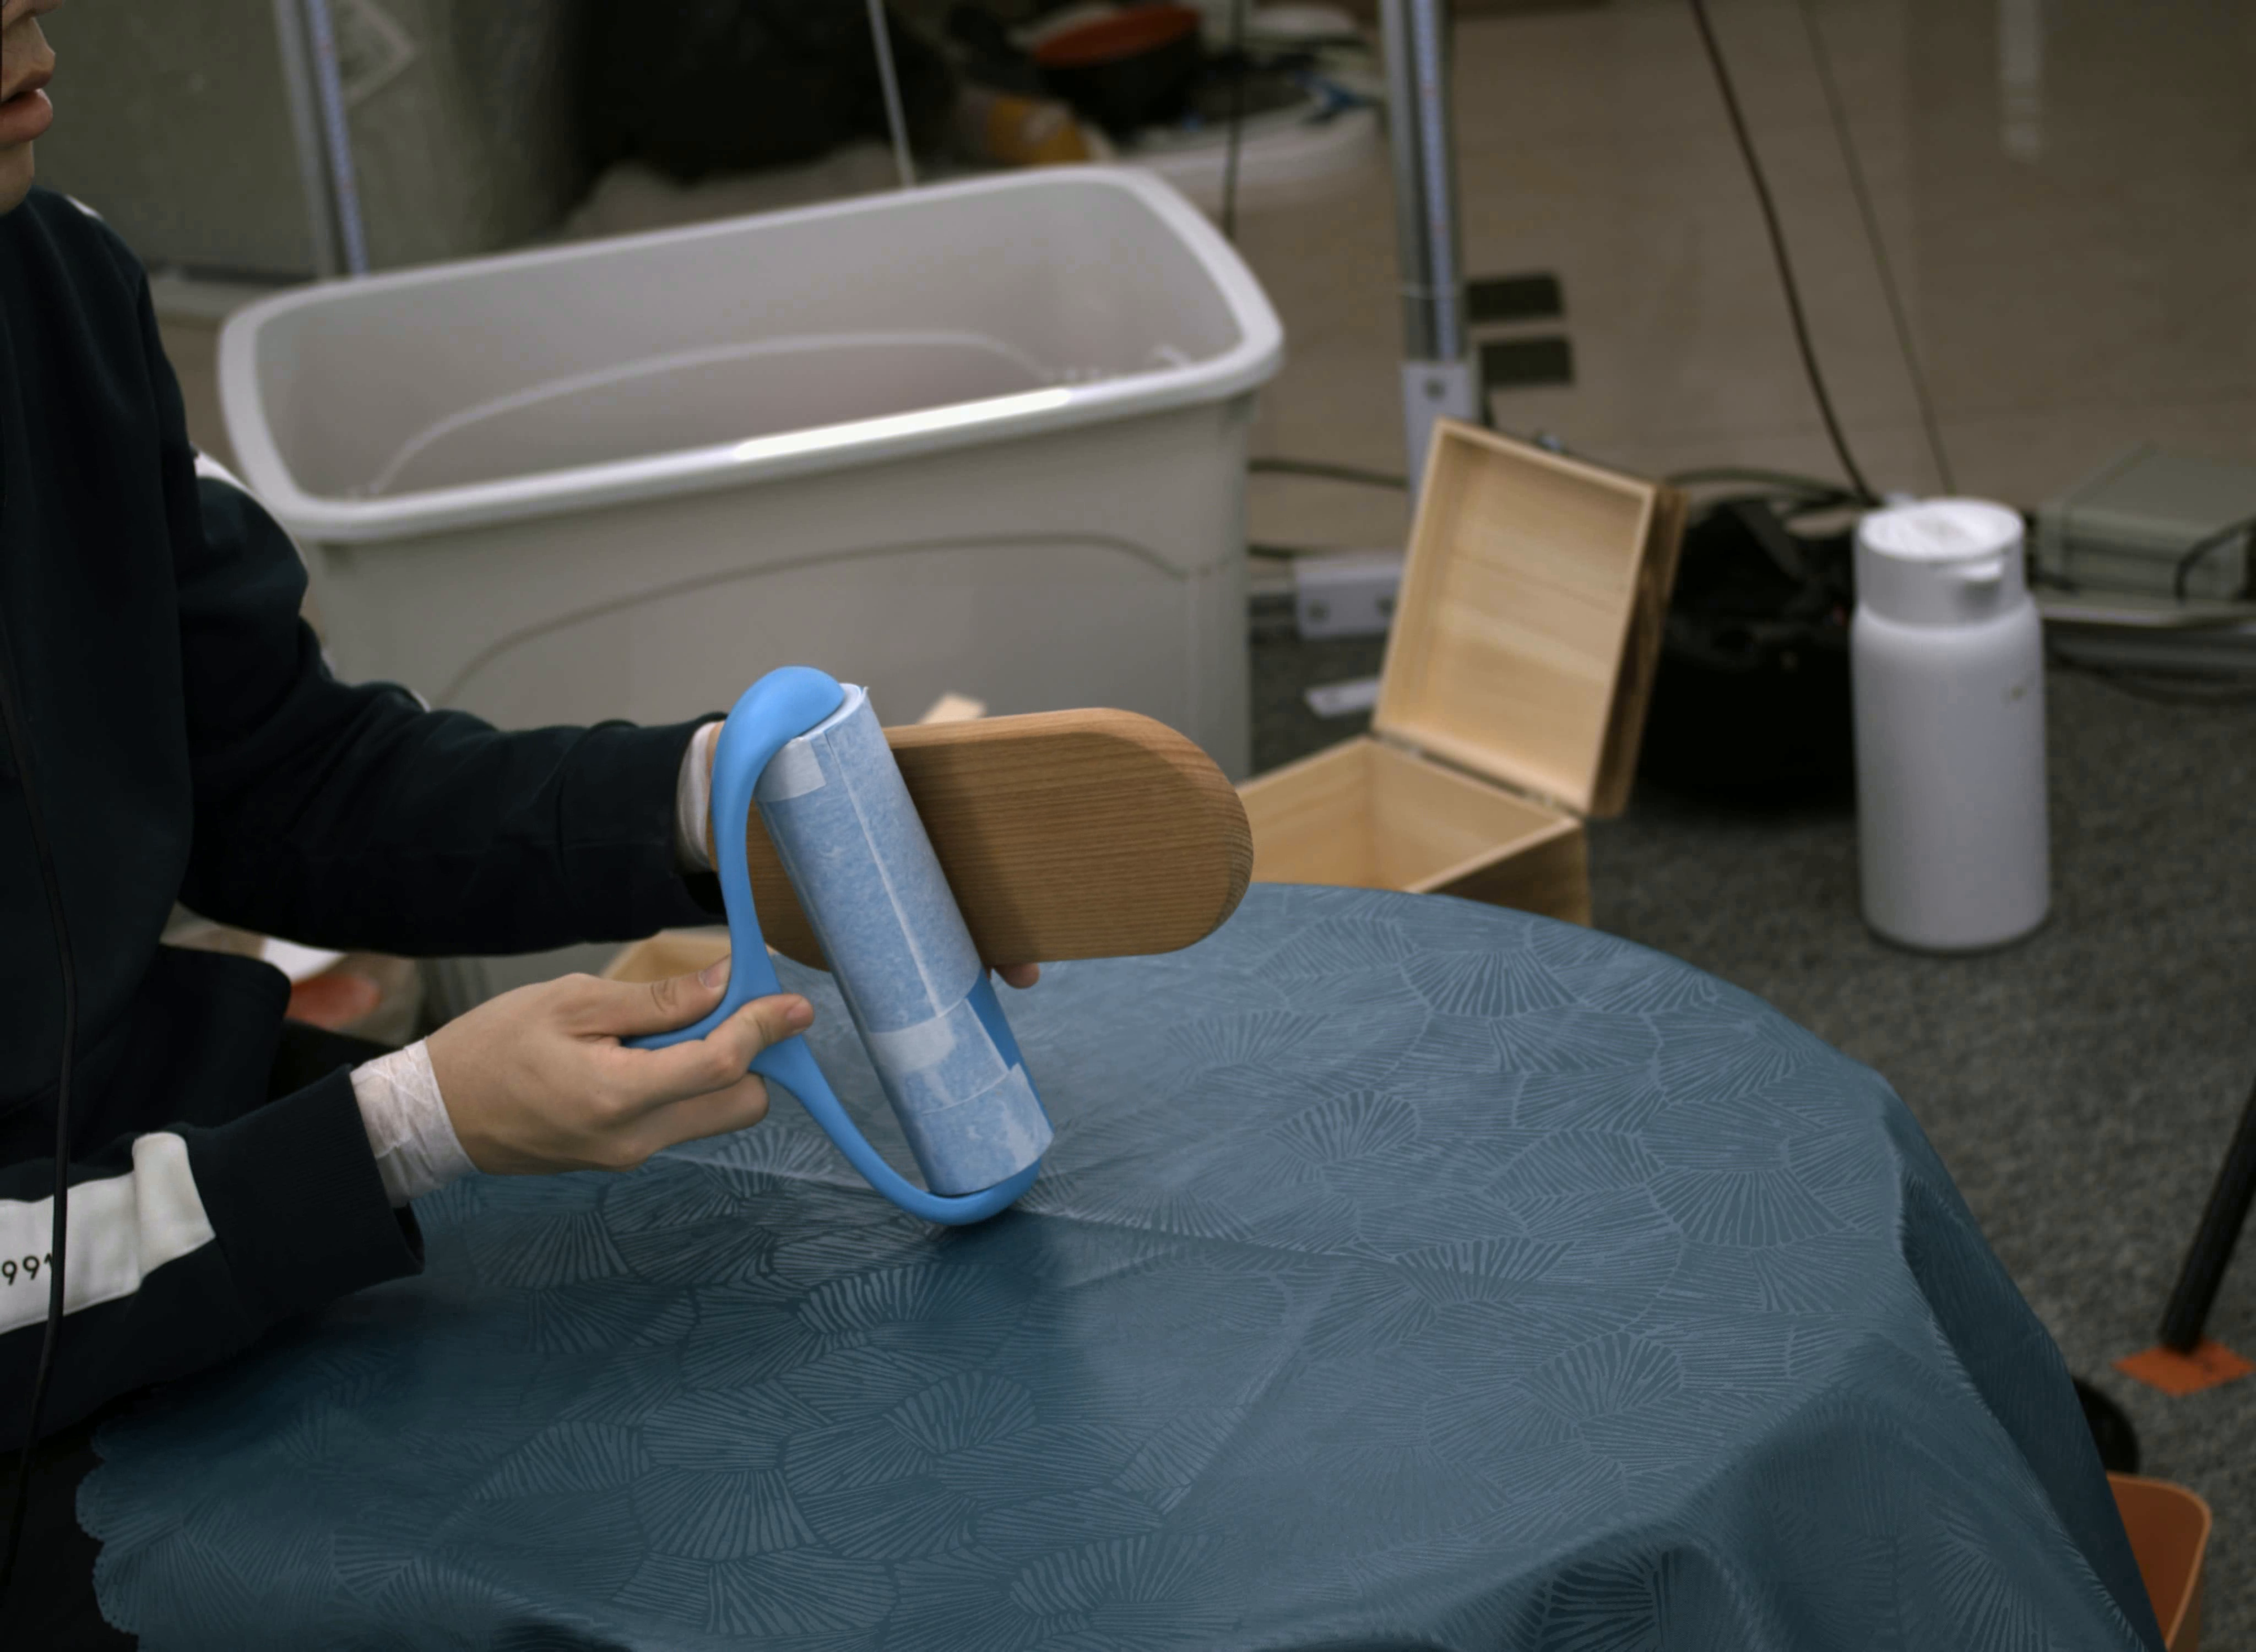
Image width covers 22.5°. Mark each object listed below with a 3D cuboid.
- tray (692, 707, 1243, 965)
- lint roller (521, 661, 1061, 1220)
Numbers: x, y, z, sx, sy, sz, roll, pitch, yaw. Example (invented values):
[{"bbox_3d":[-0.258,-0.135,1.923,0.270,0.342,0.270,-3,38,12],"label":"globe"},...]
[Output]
[{"bbox_3d":[-0.063,0.007,2.111,0.231,0.103,0.020,-4,28,28],"label":"tray"},{"bbox_3d":[-0.139,0.067,2.102,0.180,0.232,0.067,-26,24,1],"label":"lint roller"}]
